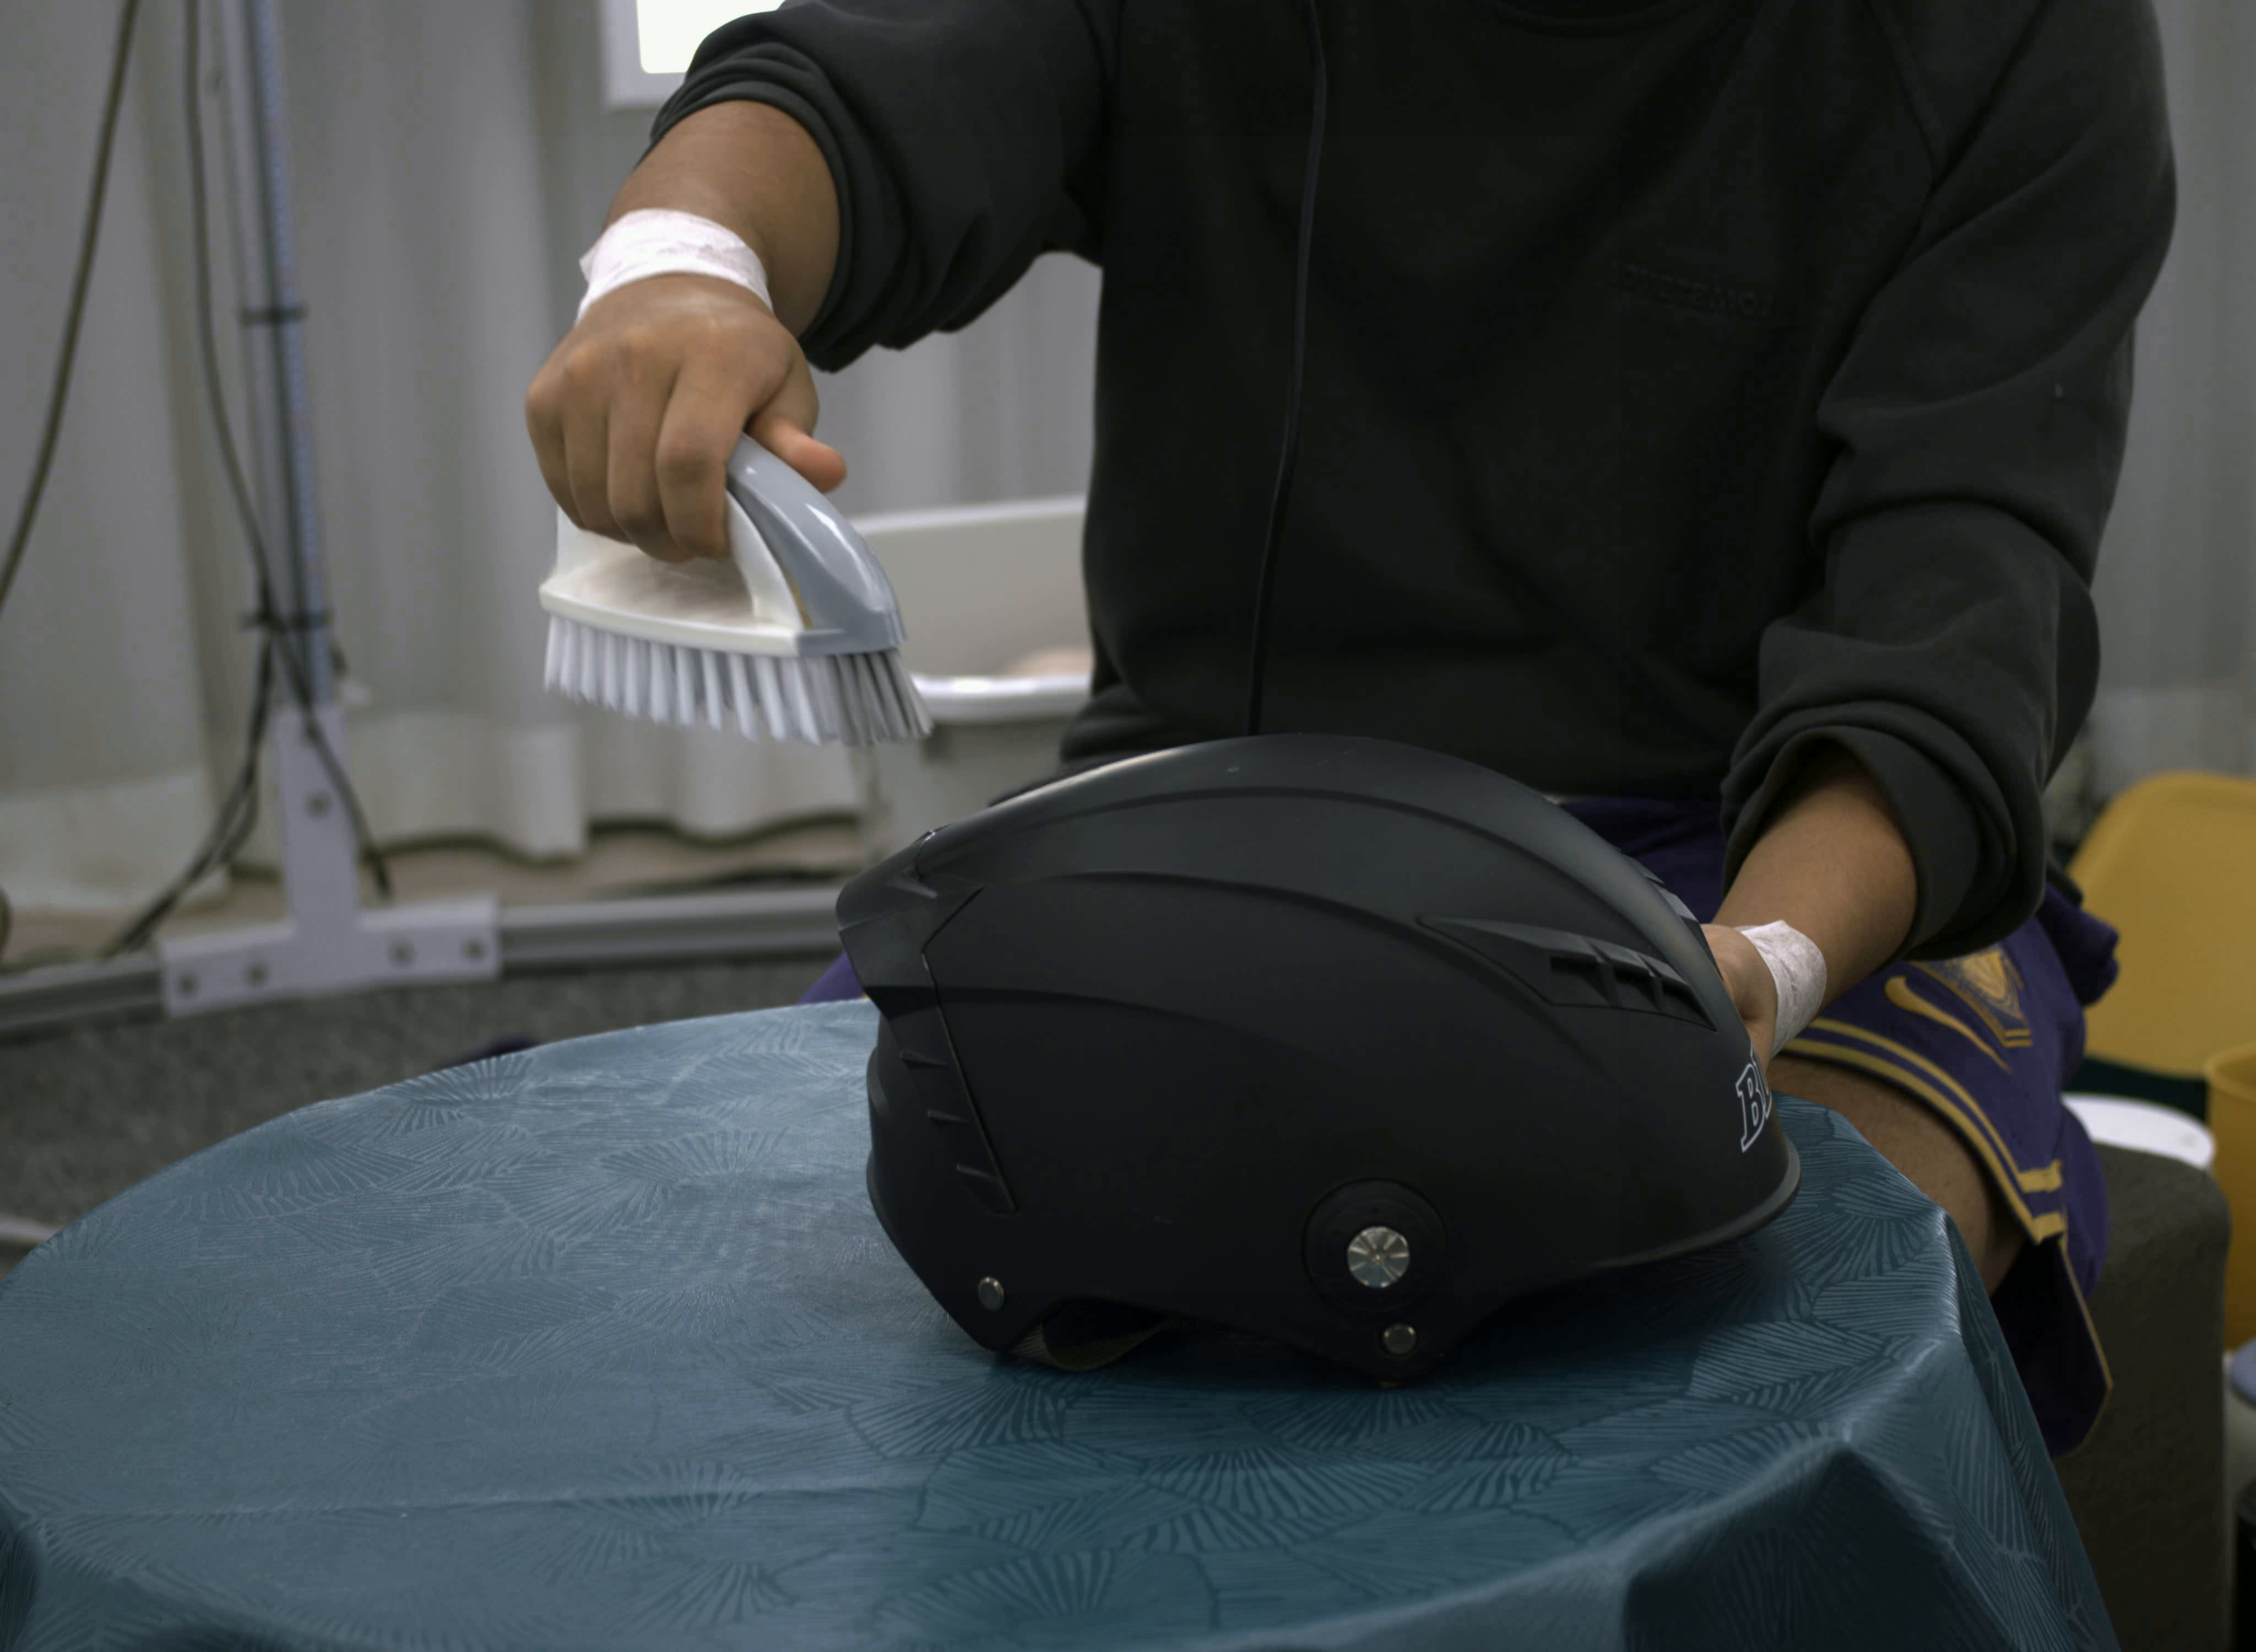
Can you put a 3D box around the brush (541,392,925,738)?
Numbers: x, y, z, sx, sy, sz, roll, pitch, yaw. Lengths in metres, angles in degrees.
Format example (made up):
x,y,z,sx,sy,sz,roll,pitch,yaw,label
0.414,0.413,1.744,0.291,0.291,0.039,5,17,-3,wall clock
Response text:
x,y,z,sx,sy,sz,roll,pitch,yaw,label
-0.120,-0.083,1.672,0.061,0.093,0.177,-23,25,-31,brush

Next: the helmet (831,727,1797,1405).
x,y,z,sx,sy,sz,roll,pitch,yaw,label
0.053,0.056,1.618,0.276,0.172,0.248,-5,15,12,helmet
